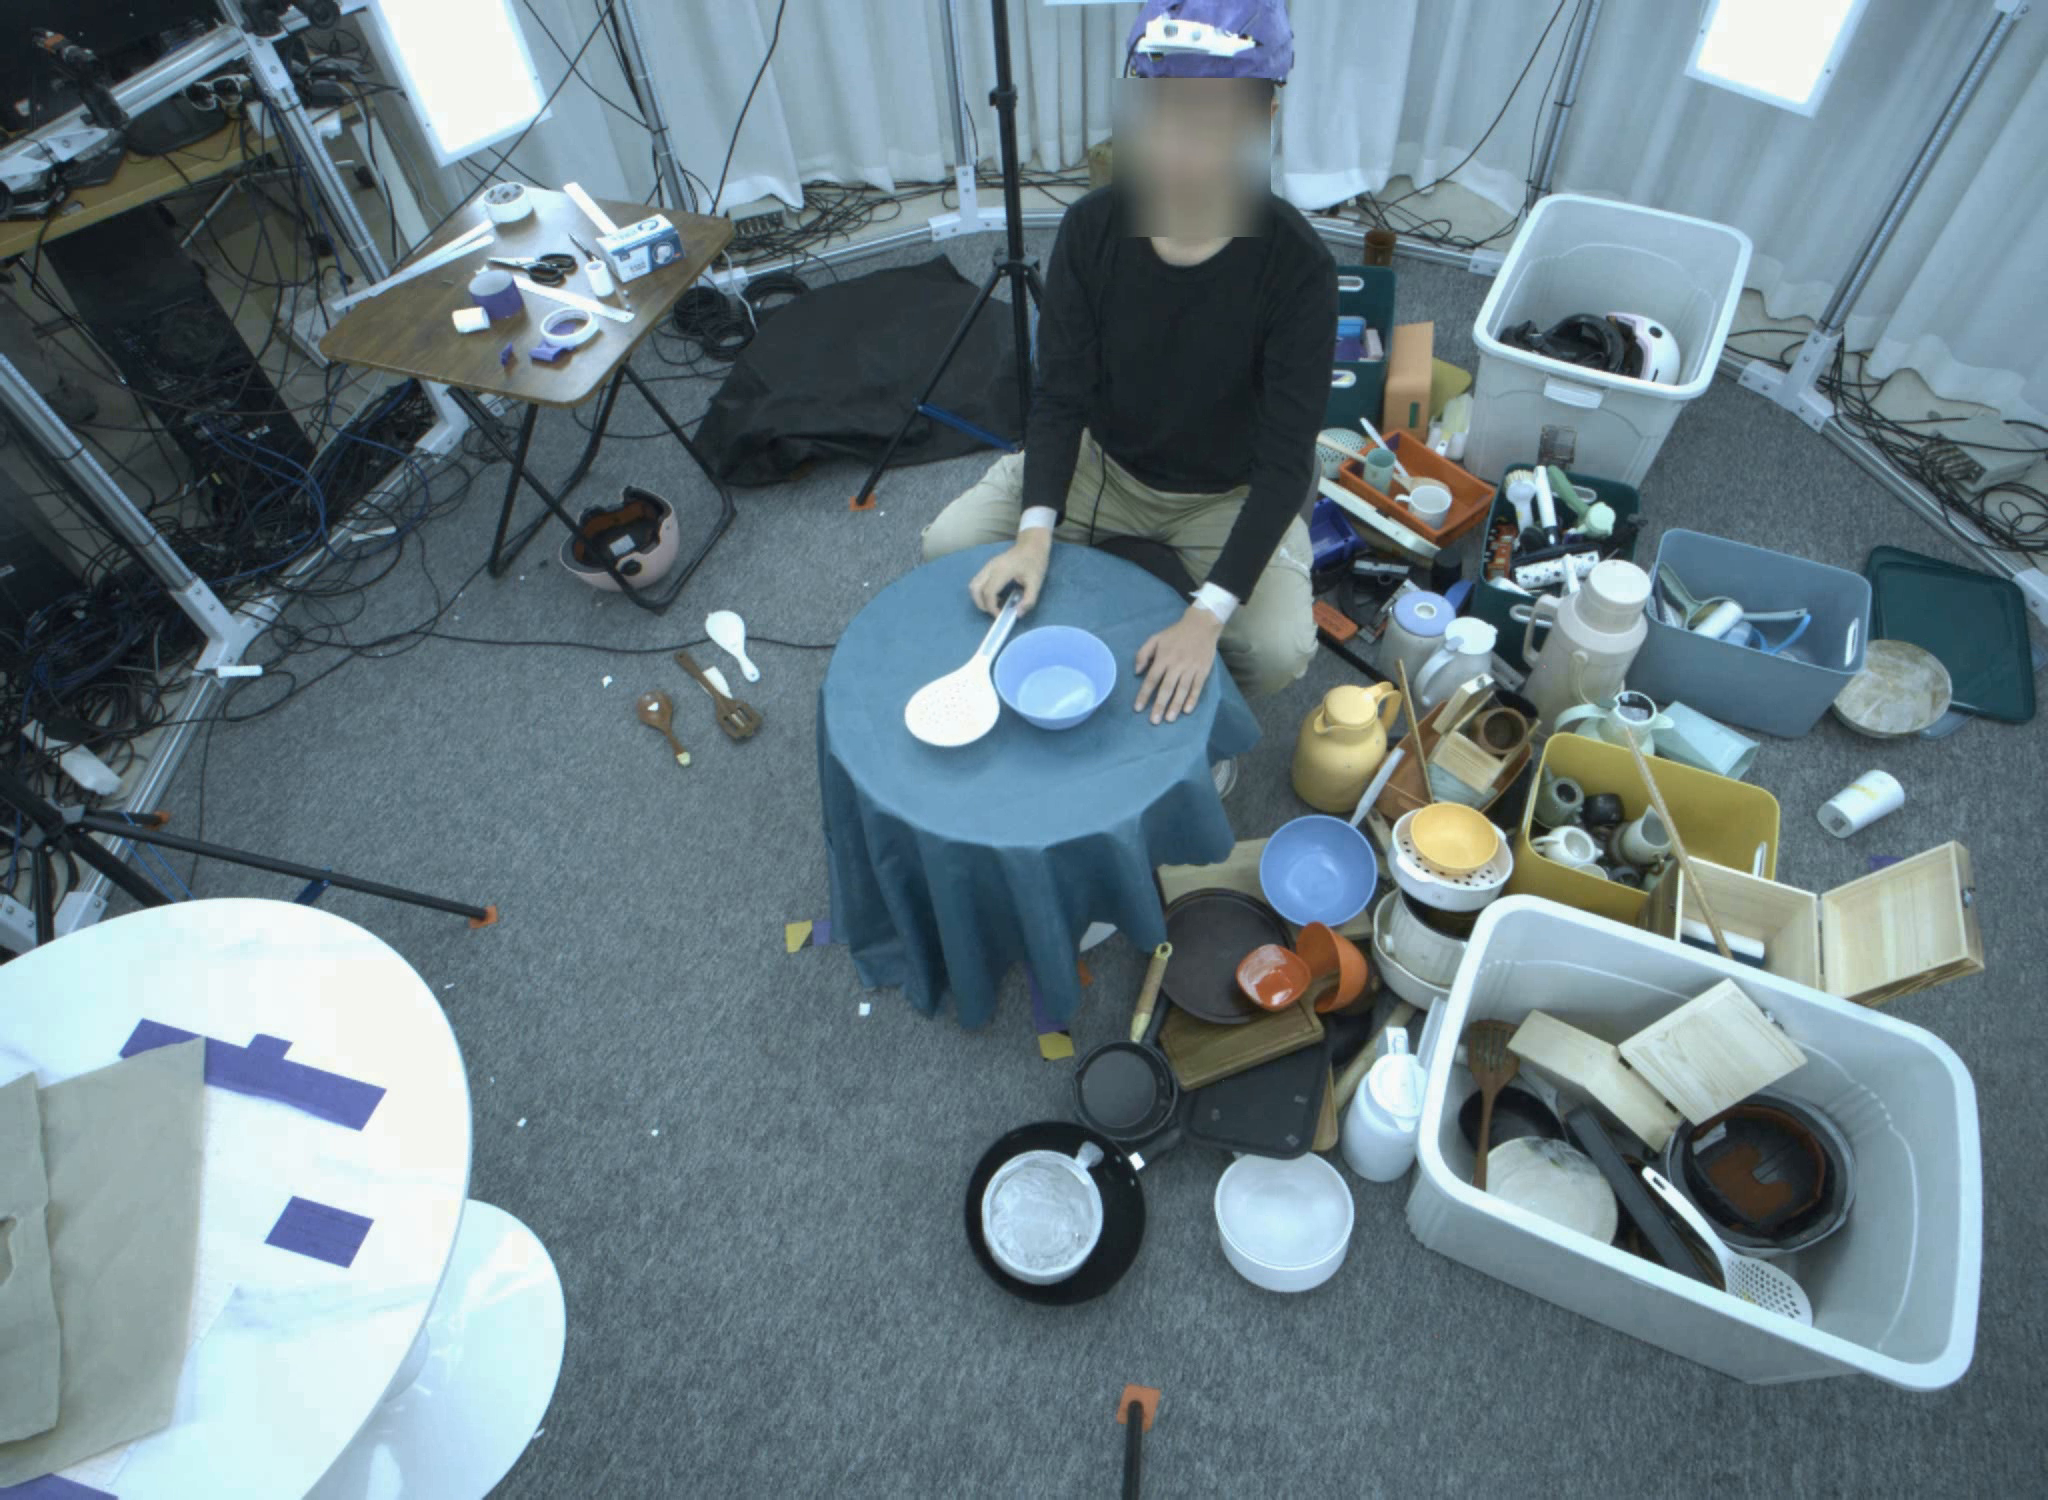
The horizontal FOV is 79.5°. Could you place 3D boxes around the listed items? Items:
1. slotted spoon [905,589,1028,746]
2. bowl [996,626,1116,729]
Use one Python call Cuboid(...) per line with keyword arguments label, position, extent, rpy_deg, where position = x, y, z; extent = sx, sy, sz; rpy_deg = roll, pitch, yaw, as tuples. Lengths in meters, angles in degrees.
Cuboid(label="slotted spoon", position=(-0.067, -0.129, 1.853), extent=(0.134, 0.046, 0.349), rpy_deg=(12, 55, 18))
Cuboid(label="bowl", position=(0.048, -0.097, 1.812), extent=(0.176, 0.071, 0.174), rpy_deg=(0, 54, 2))
